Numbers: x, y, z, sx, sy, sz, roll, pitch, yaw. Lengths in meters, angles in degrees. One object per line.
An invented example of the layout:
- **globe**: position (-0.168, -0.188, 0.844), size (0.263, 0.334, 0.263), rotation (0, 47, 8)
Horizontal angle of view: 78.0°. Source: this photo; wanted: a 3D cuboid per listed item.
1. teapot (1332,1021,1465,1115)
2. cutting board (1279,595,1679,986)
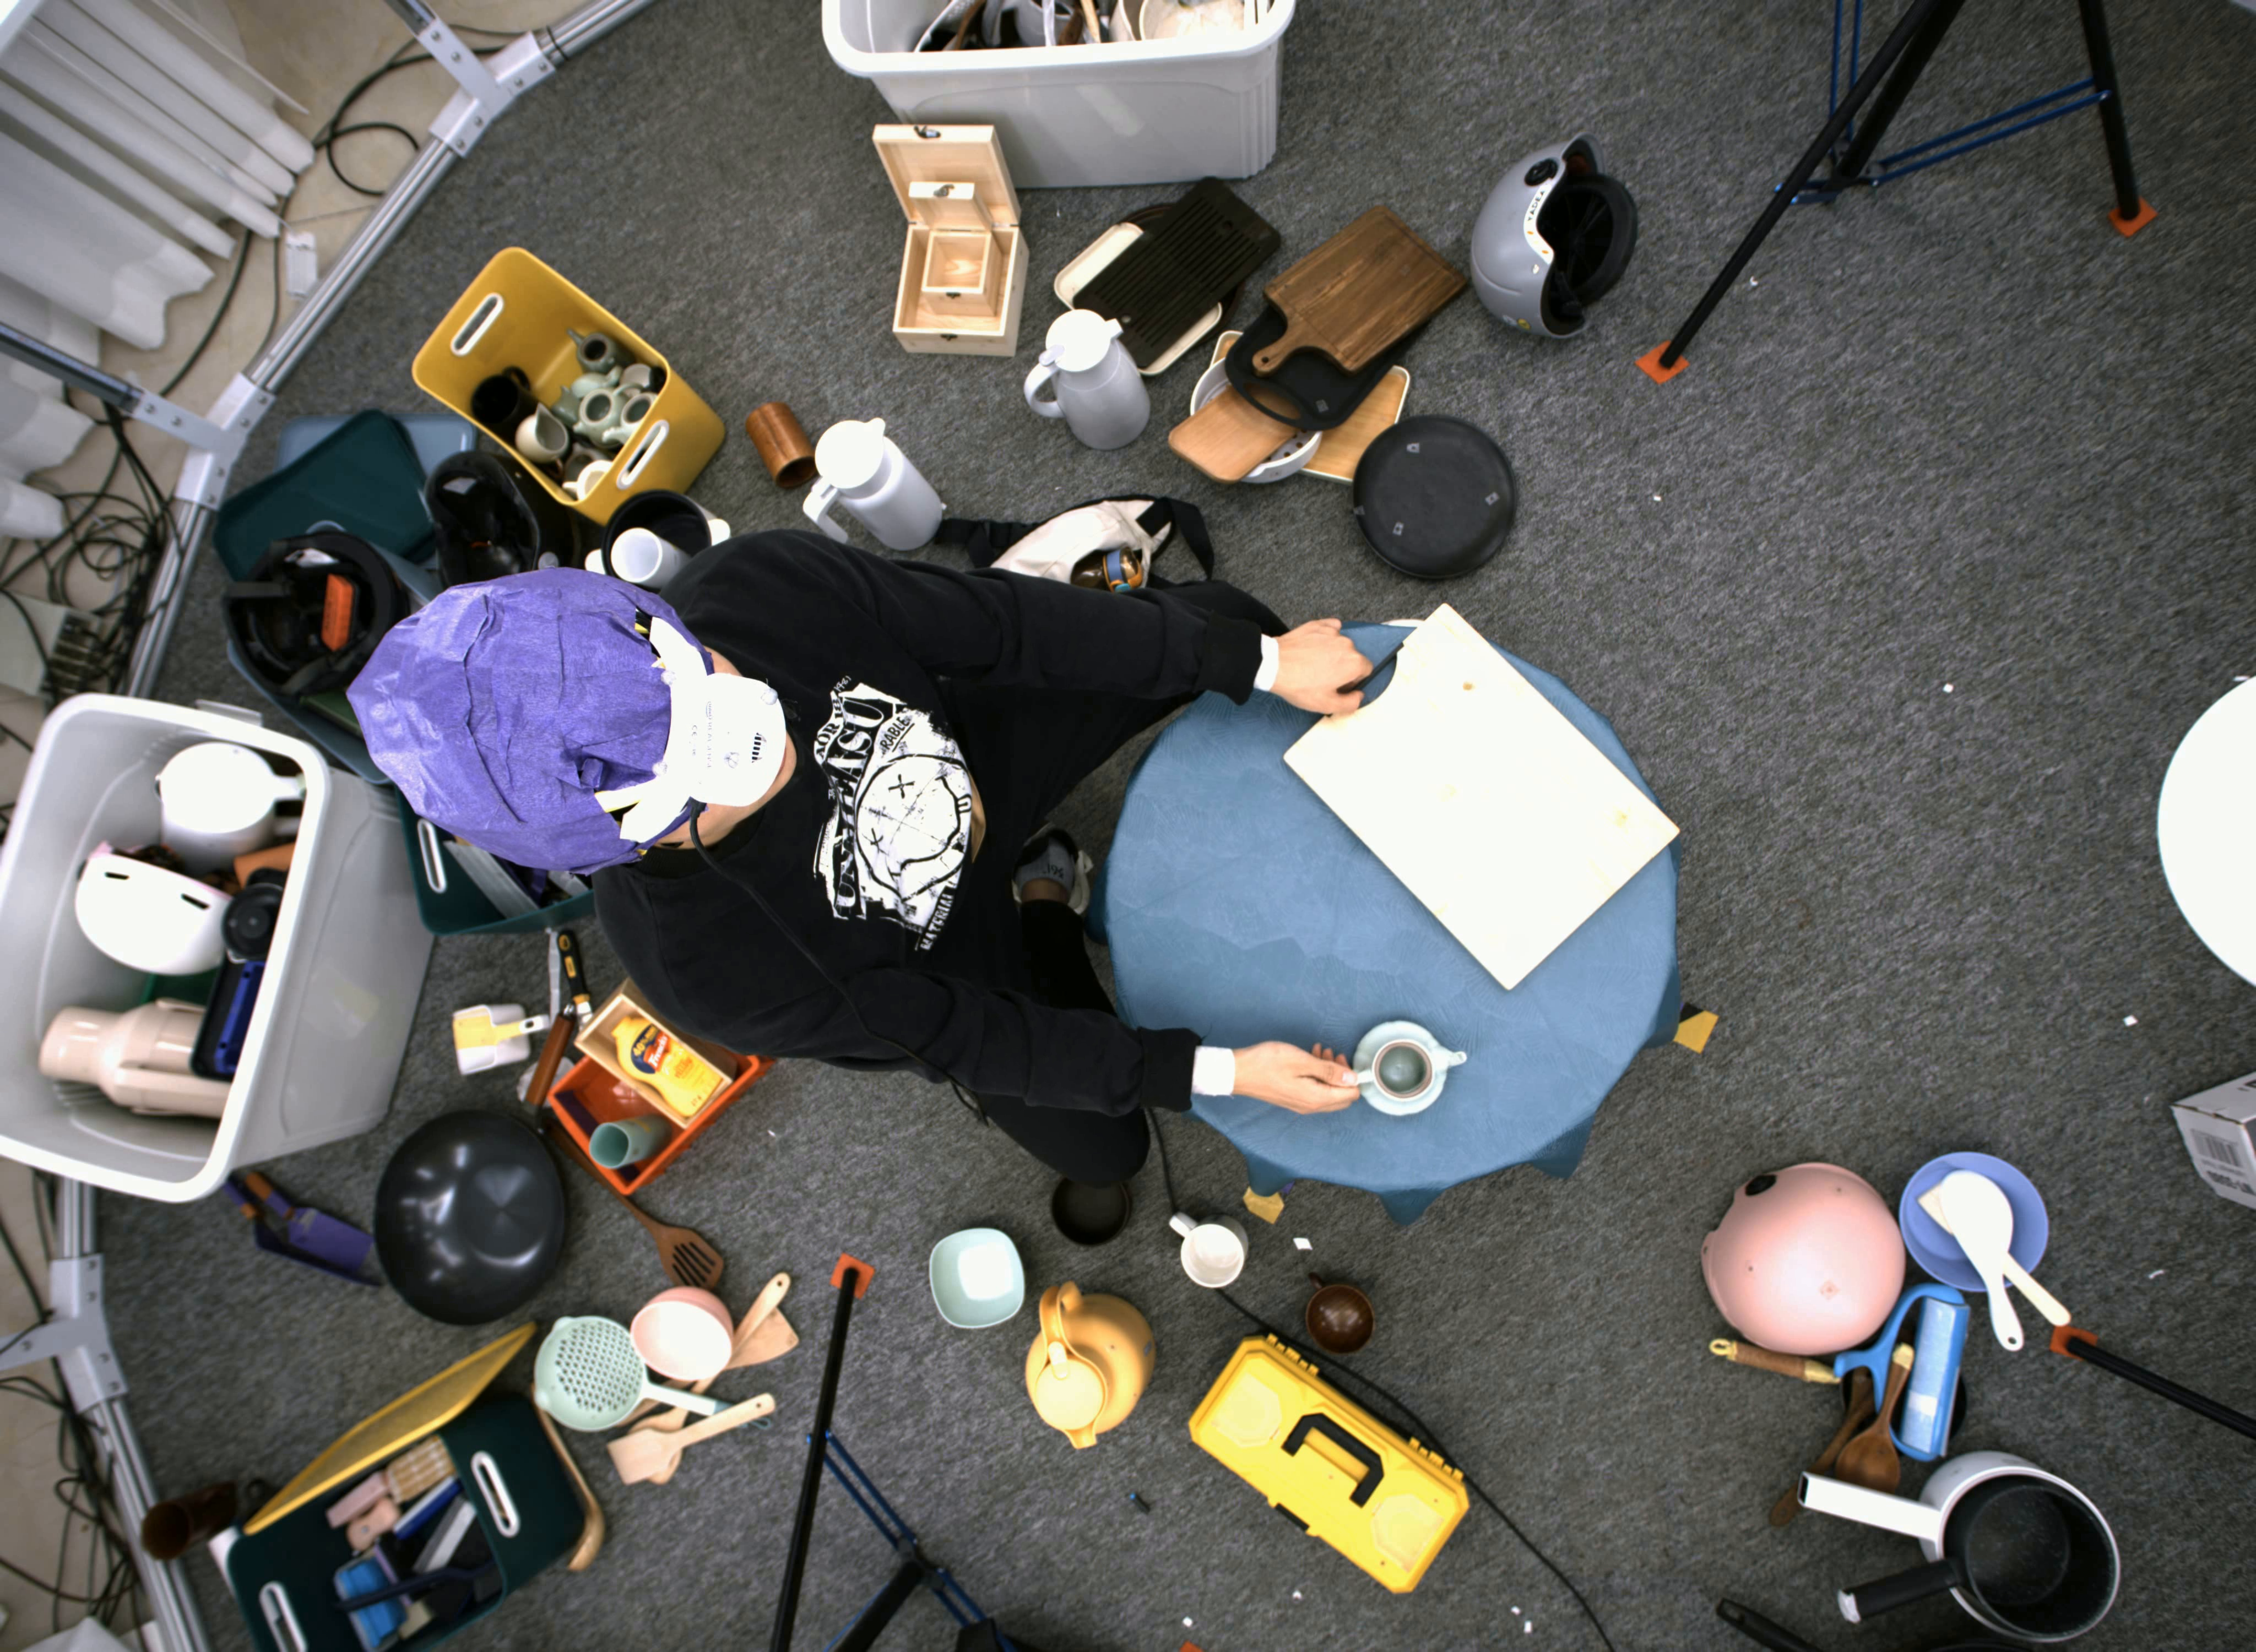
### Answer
- **teapot**: position (0.275, 0.248, 1.419), size (0.137, 0.061, 0.096), rotation (-15, 85, 4)
- **cutting board**: position (0.363, -0.040, 1.441), size (0.252, 0.023, 0.347), rotation (-45, 80, 6)
